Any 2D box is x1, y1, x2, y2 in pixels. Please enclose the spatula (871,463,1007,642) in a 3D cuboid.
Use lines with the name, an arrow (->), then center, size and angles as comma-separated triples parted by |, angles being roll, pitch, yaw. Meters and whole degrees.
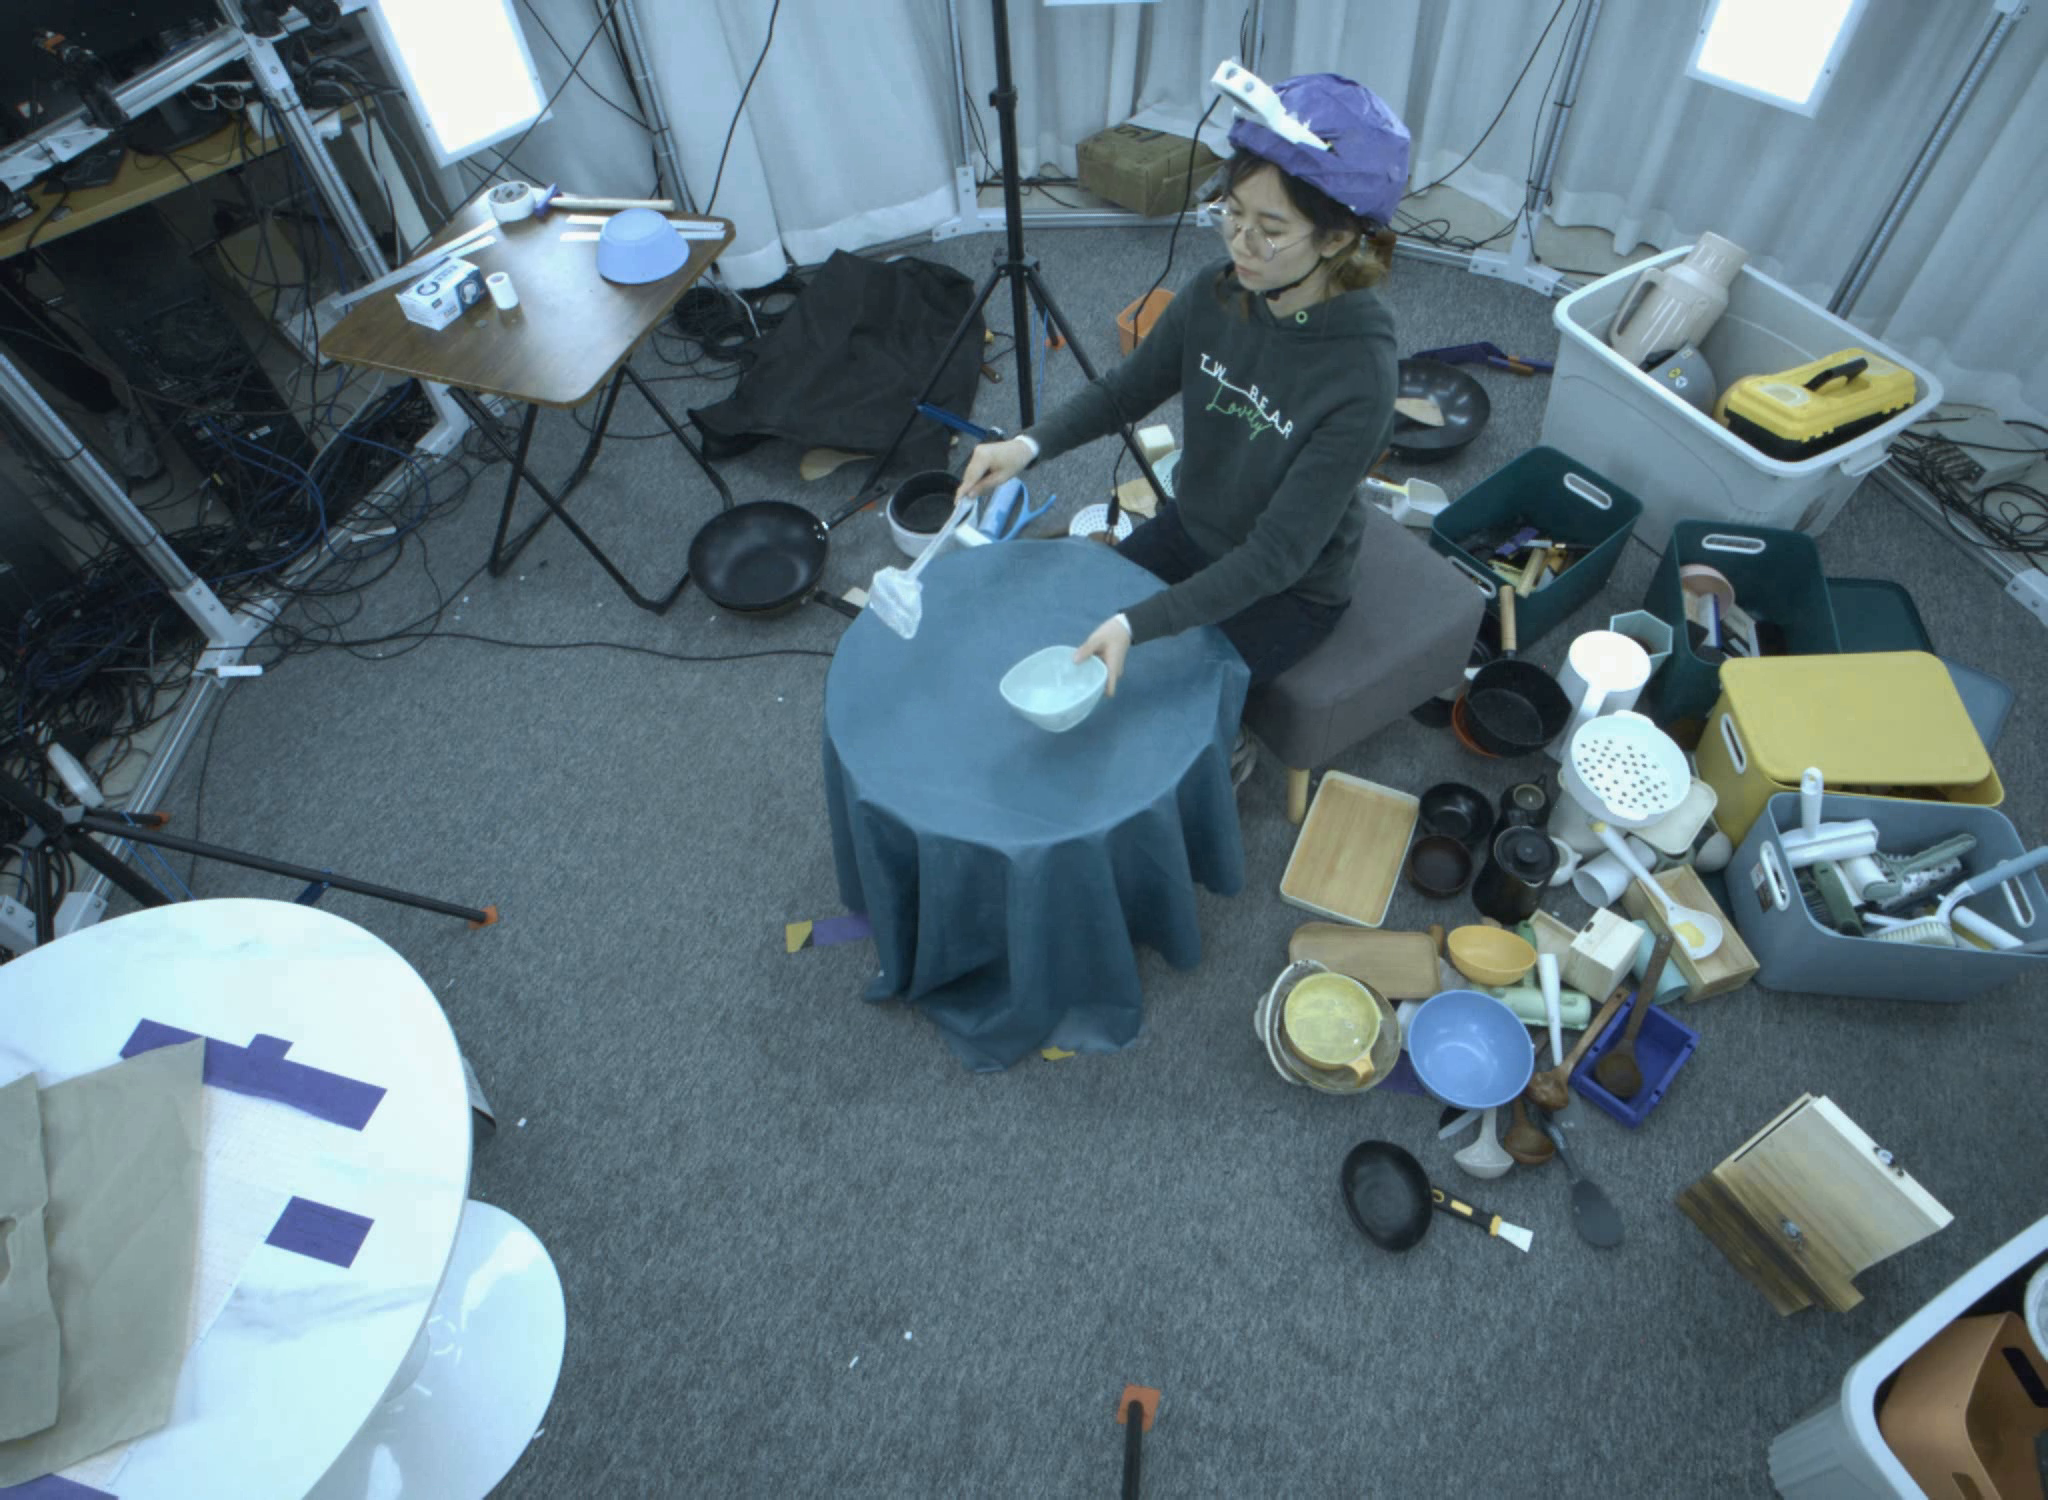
spatula -> -0.114, -0.316, 1.832 | 0.044, 0.100, 0.365 | -2, 49, 54

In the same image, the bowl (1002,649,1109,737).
bowl -> 0.048, -0.072, 1.723 | 0.151, 0.059, 0.150 | -6, 43, 7
